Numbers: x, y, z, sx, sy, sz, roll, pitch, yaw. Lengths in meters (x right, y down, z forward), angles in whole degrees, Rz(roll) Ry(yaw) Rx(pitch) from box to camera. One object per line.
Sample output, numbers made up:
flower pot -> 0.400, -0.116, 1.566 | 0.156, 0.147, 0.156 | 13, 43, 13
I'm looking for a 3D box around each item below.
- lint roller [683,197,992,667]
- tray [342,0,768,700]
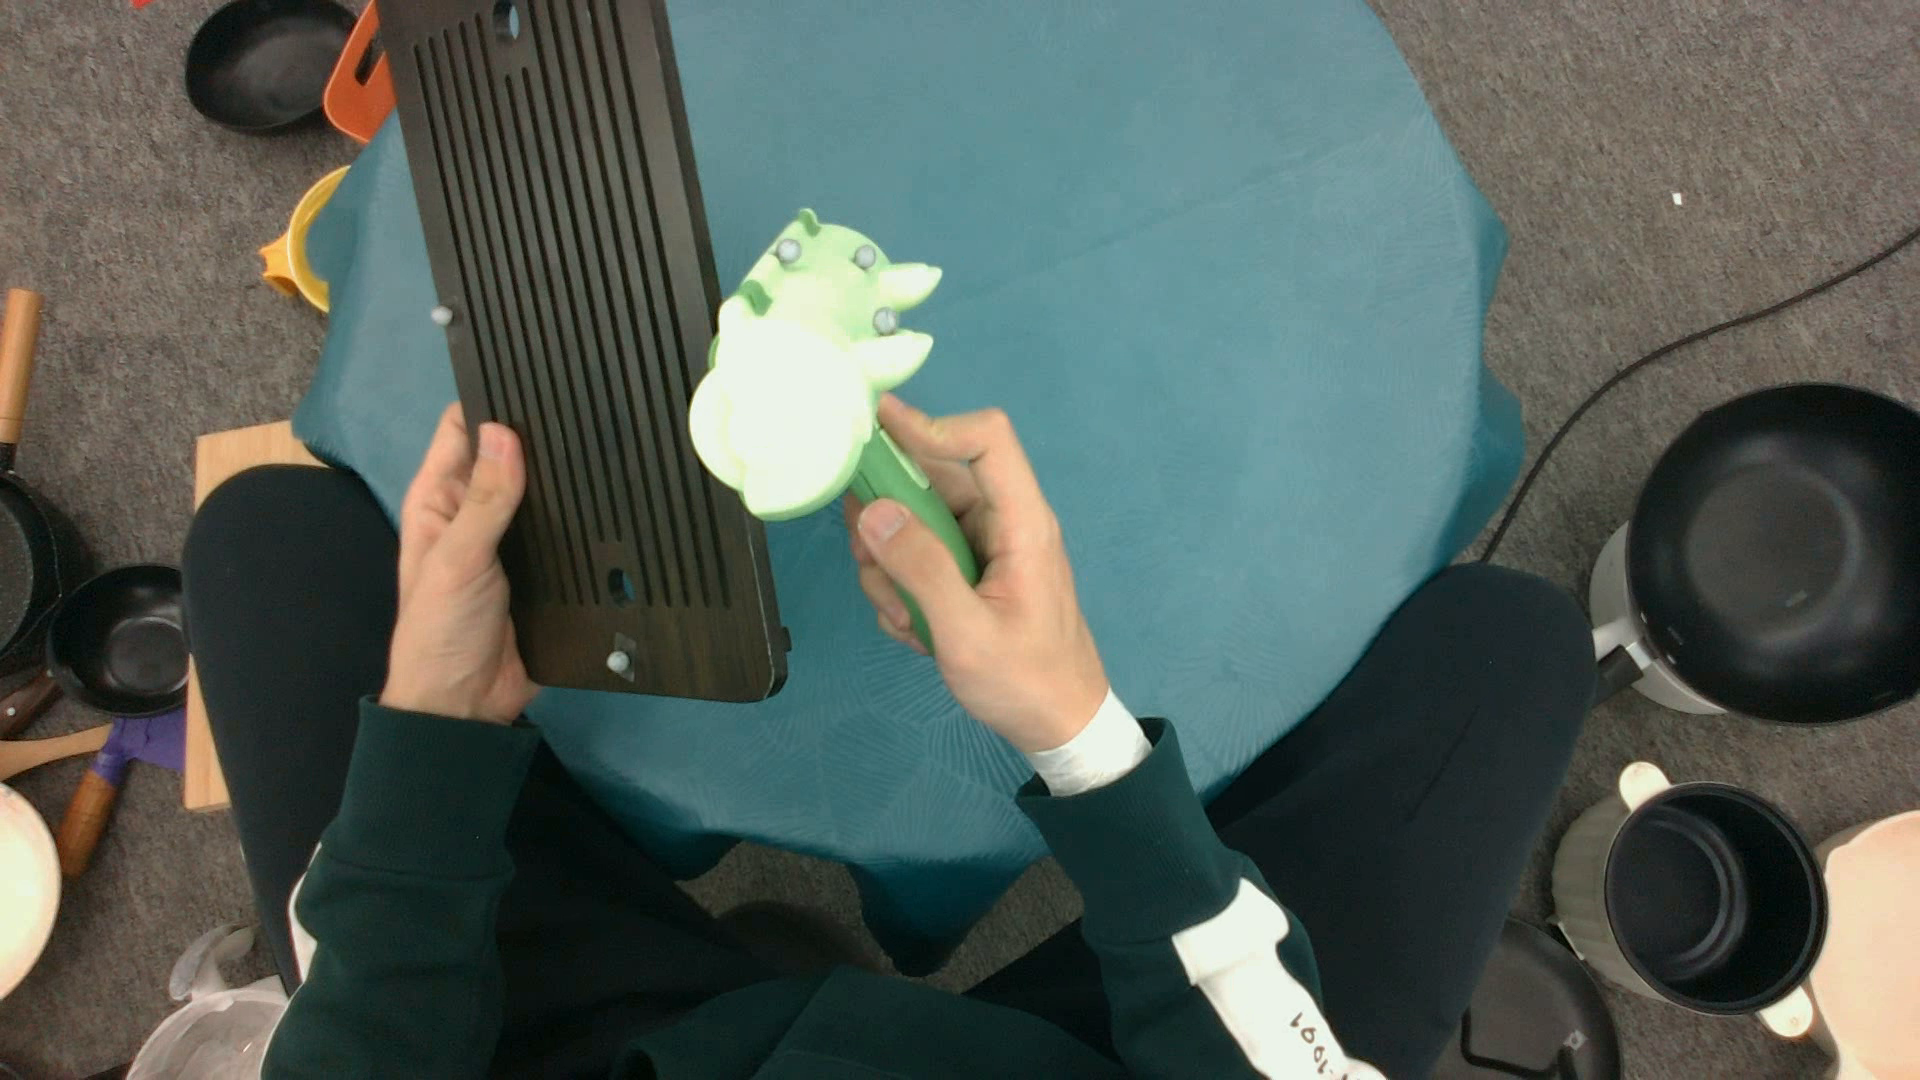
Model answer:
lint roller -> -0.021, -0.037, 0.508 | 0.082, 0.199, 0.183 | -35, 109, 12
tray -> -0.159, -0.088, 0.535 | 0.169, 0.019, 0.305 | -3, 101, 39
